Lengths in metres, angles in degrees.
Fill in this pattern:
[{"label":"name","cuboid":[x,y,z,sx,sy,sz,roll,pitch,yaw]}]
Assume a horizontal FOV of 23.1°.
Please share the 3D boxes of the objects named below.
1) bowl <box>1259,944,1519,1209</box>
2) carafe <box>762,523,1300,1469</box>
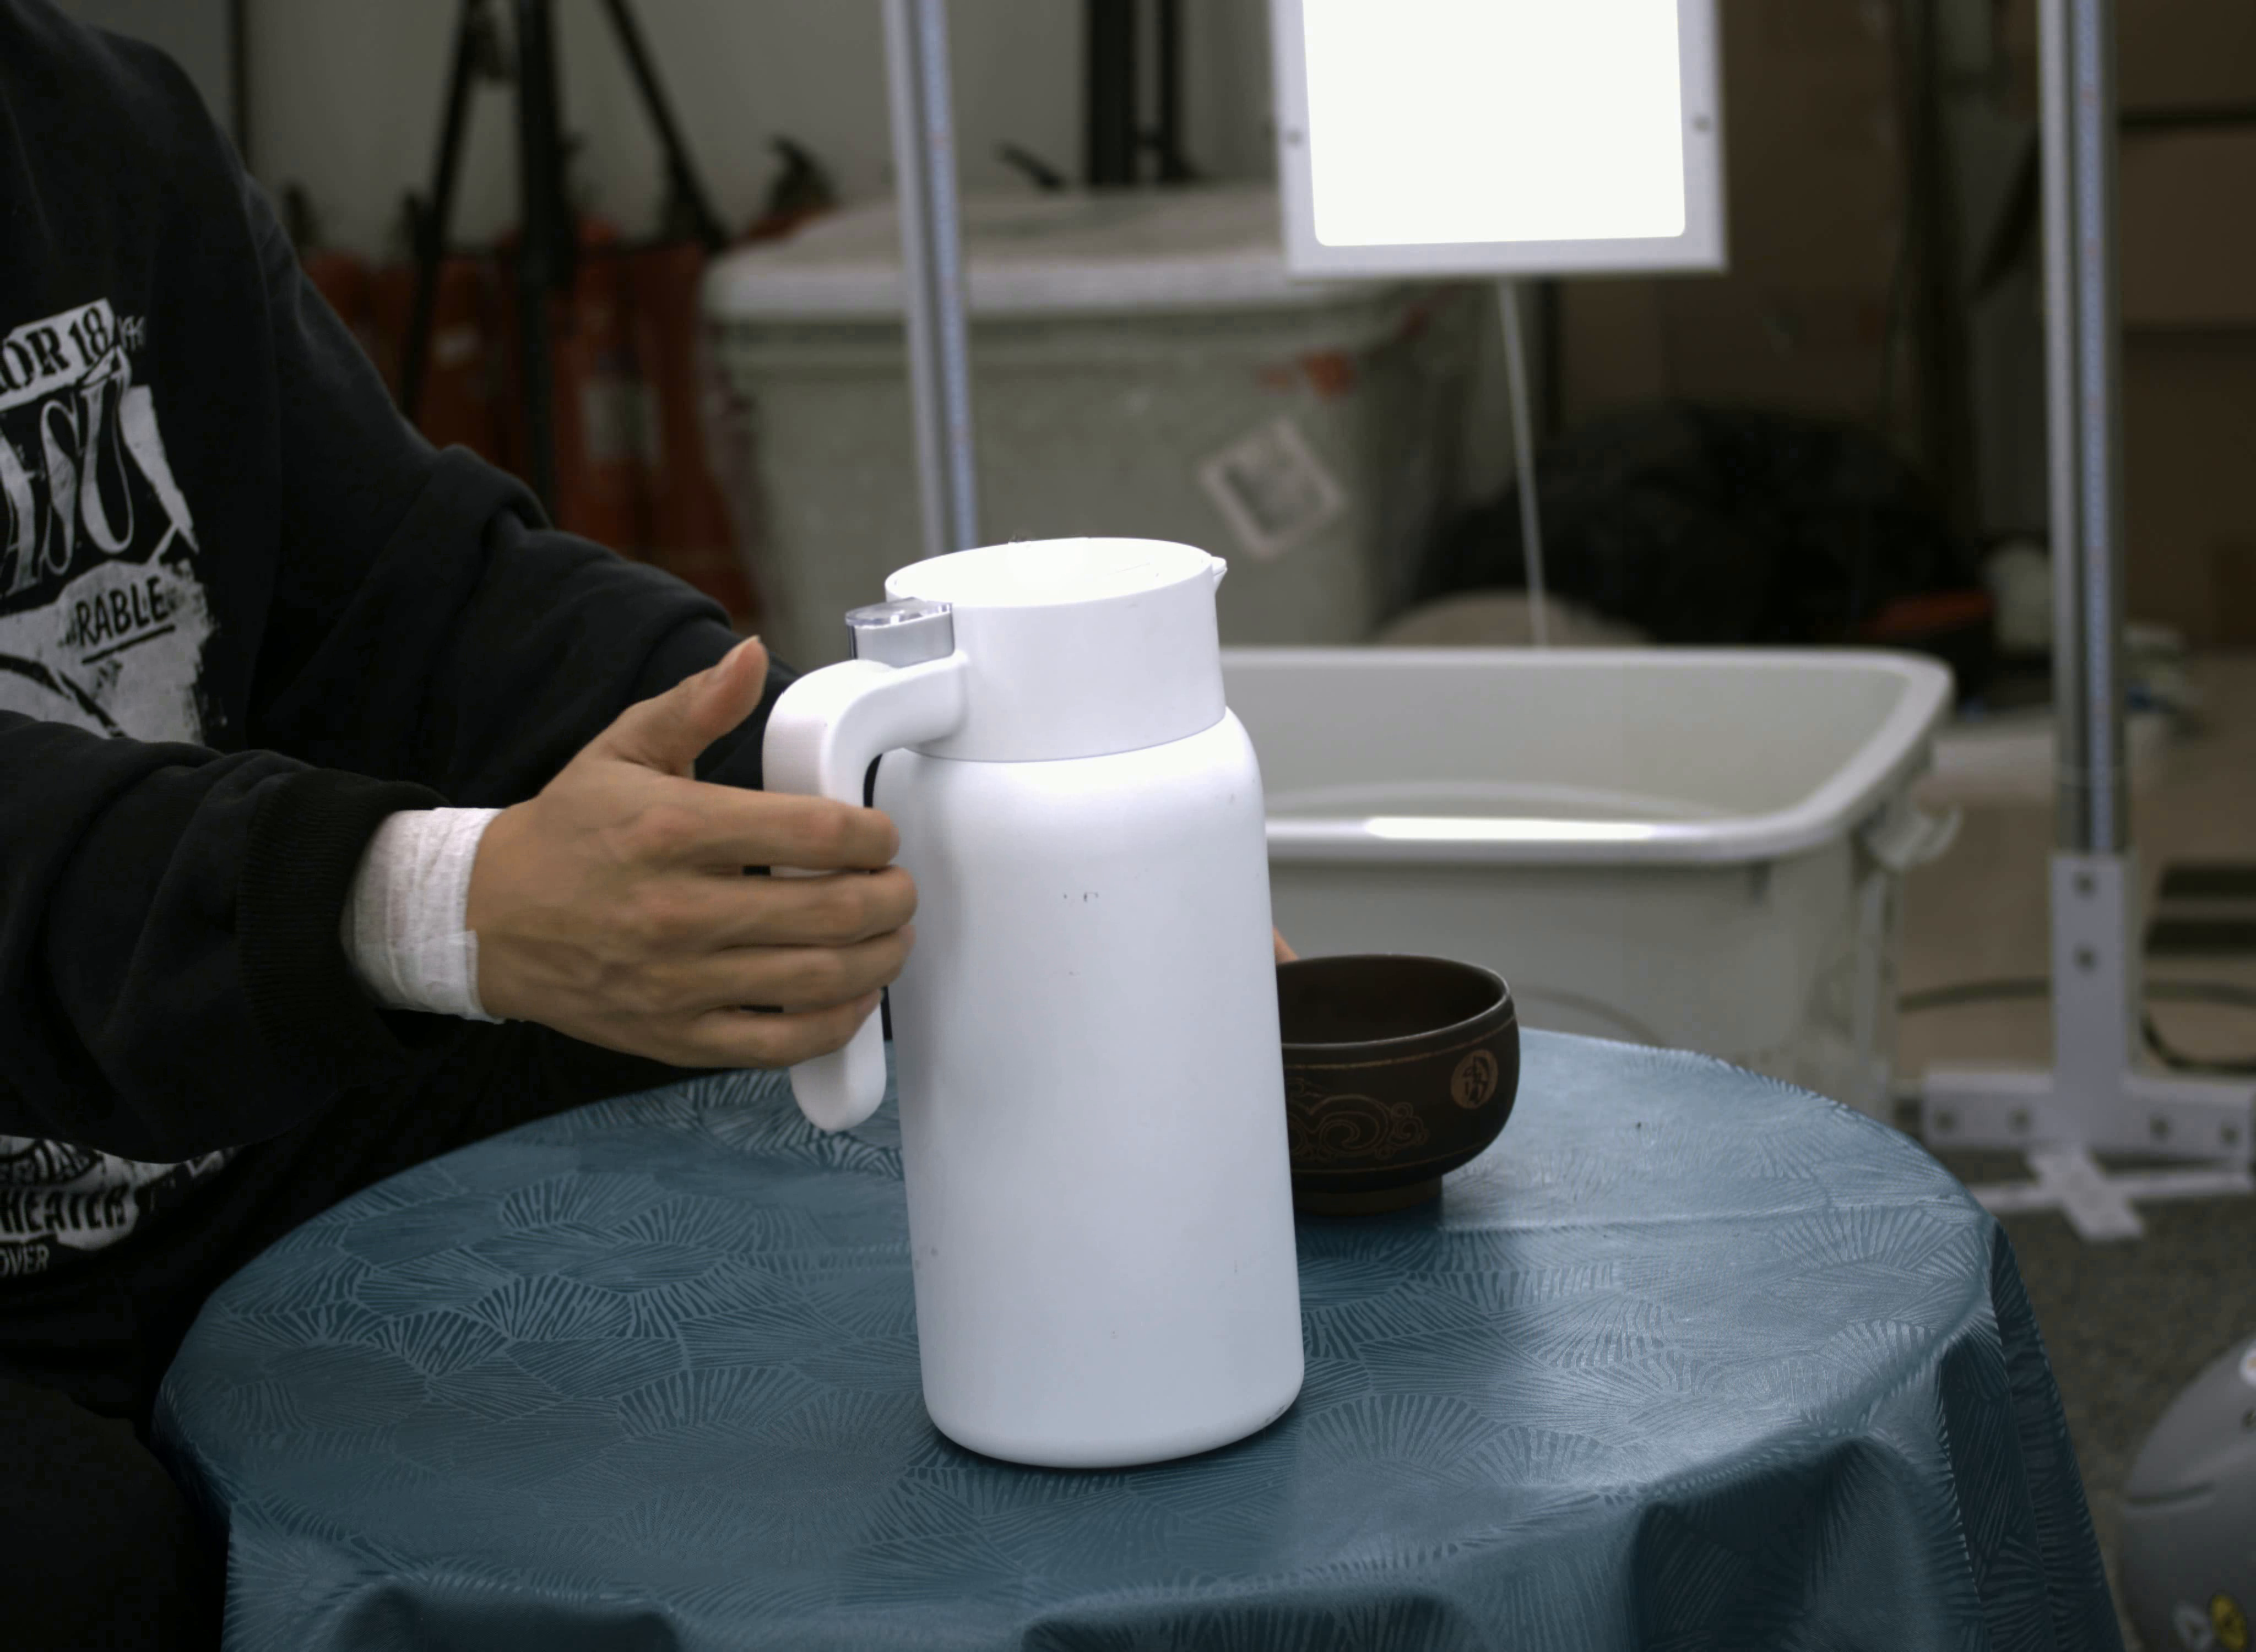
[{"label":"bowl","cuboid":[0.076,0.089,1.869,0.118,0.070,0.118,-6,14,0]},{"label":"carafe","cuboid":[-0.026,0.055,1.641,0.168,0.270,0.126,-17,20,-39]}]
